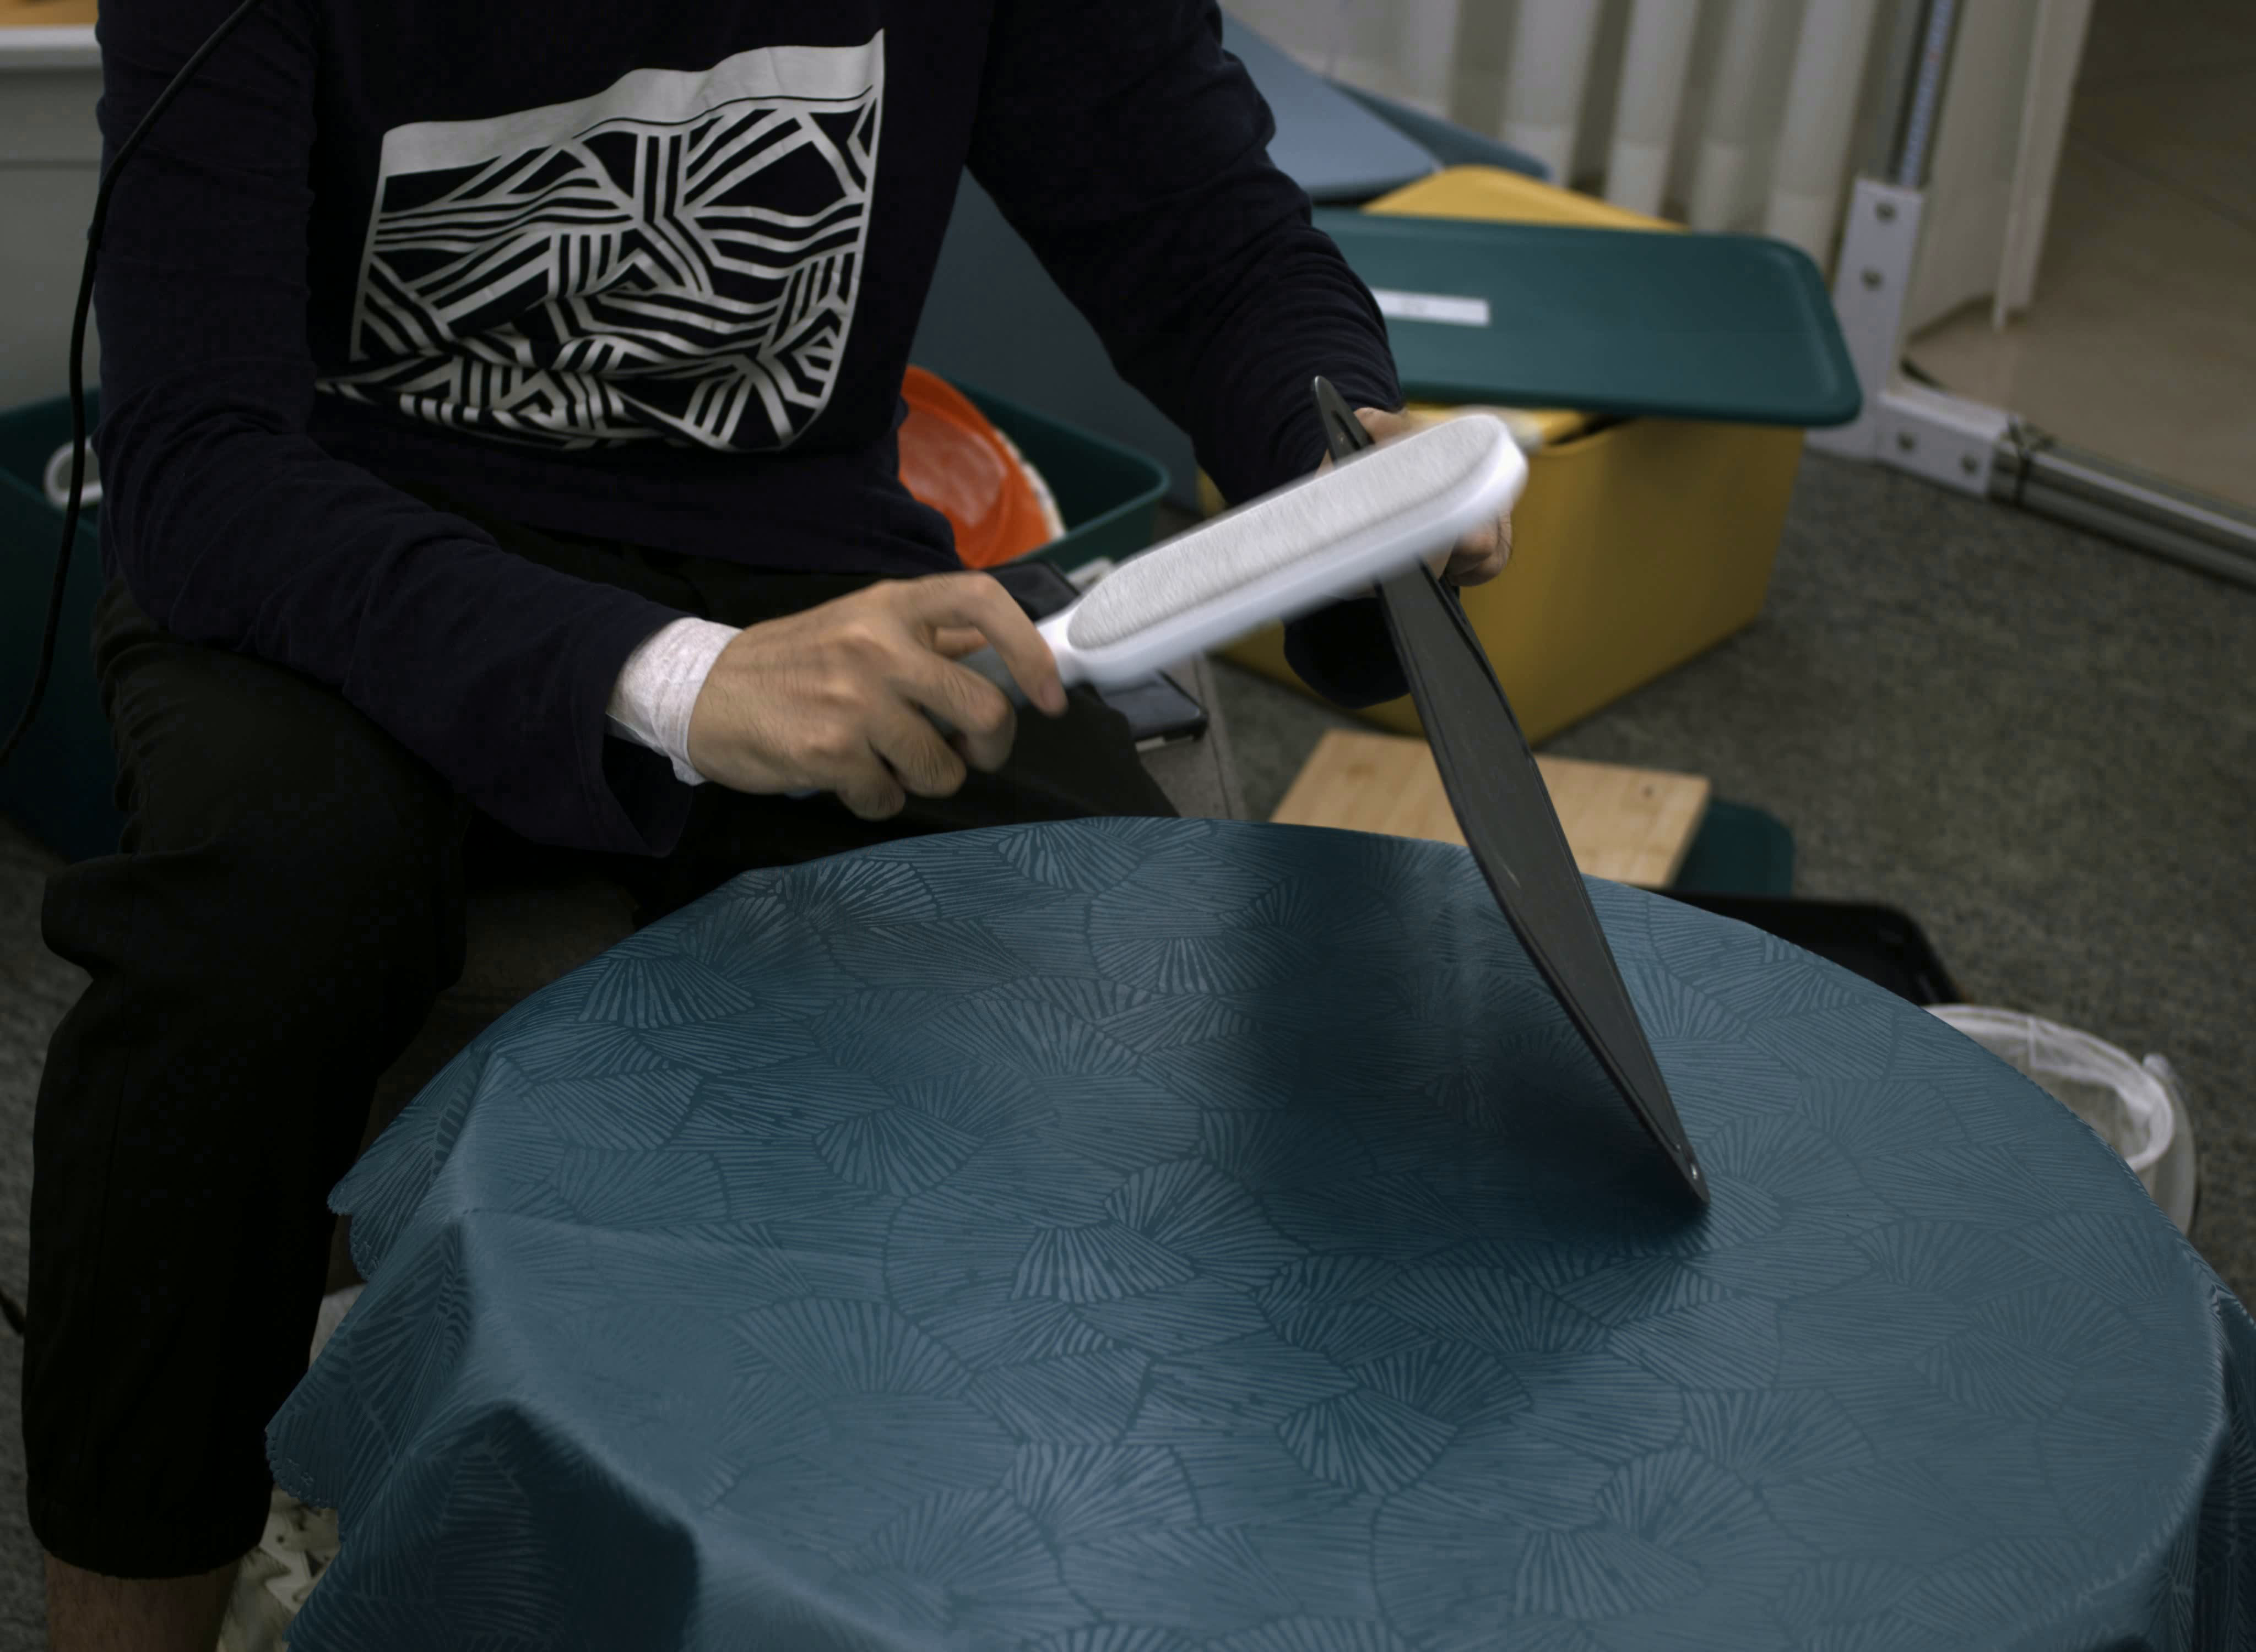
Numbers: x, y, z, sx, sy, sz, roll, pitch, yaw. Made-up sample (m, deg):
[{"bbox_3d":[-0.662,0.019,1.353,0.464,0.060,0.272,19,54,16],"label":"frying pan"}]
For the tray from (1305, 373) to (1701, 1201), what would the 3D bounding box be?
[{"bbox_3d":[0.130,-0.024,1.881,0.010,0.209,0.328,-27,39,10],"label":"tray"}]

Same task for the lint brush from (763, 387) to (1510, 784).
[{"bbox_3d":[-0.001,-0.079,1.853,0.309,0.021,0.060,-24,36,25],"label":"lint brush"}]
